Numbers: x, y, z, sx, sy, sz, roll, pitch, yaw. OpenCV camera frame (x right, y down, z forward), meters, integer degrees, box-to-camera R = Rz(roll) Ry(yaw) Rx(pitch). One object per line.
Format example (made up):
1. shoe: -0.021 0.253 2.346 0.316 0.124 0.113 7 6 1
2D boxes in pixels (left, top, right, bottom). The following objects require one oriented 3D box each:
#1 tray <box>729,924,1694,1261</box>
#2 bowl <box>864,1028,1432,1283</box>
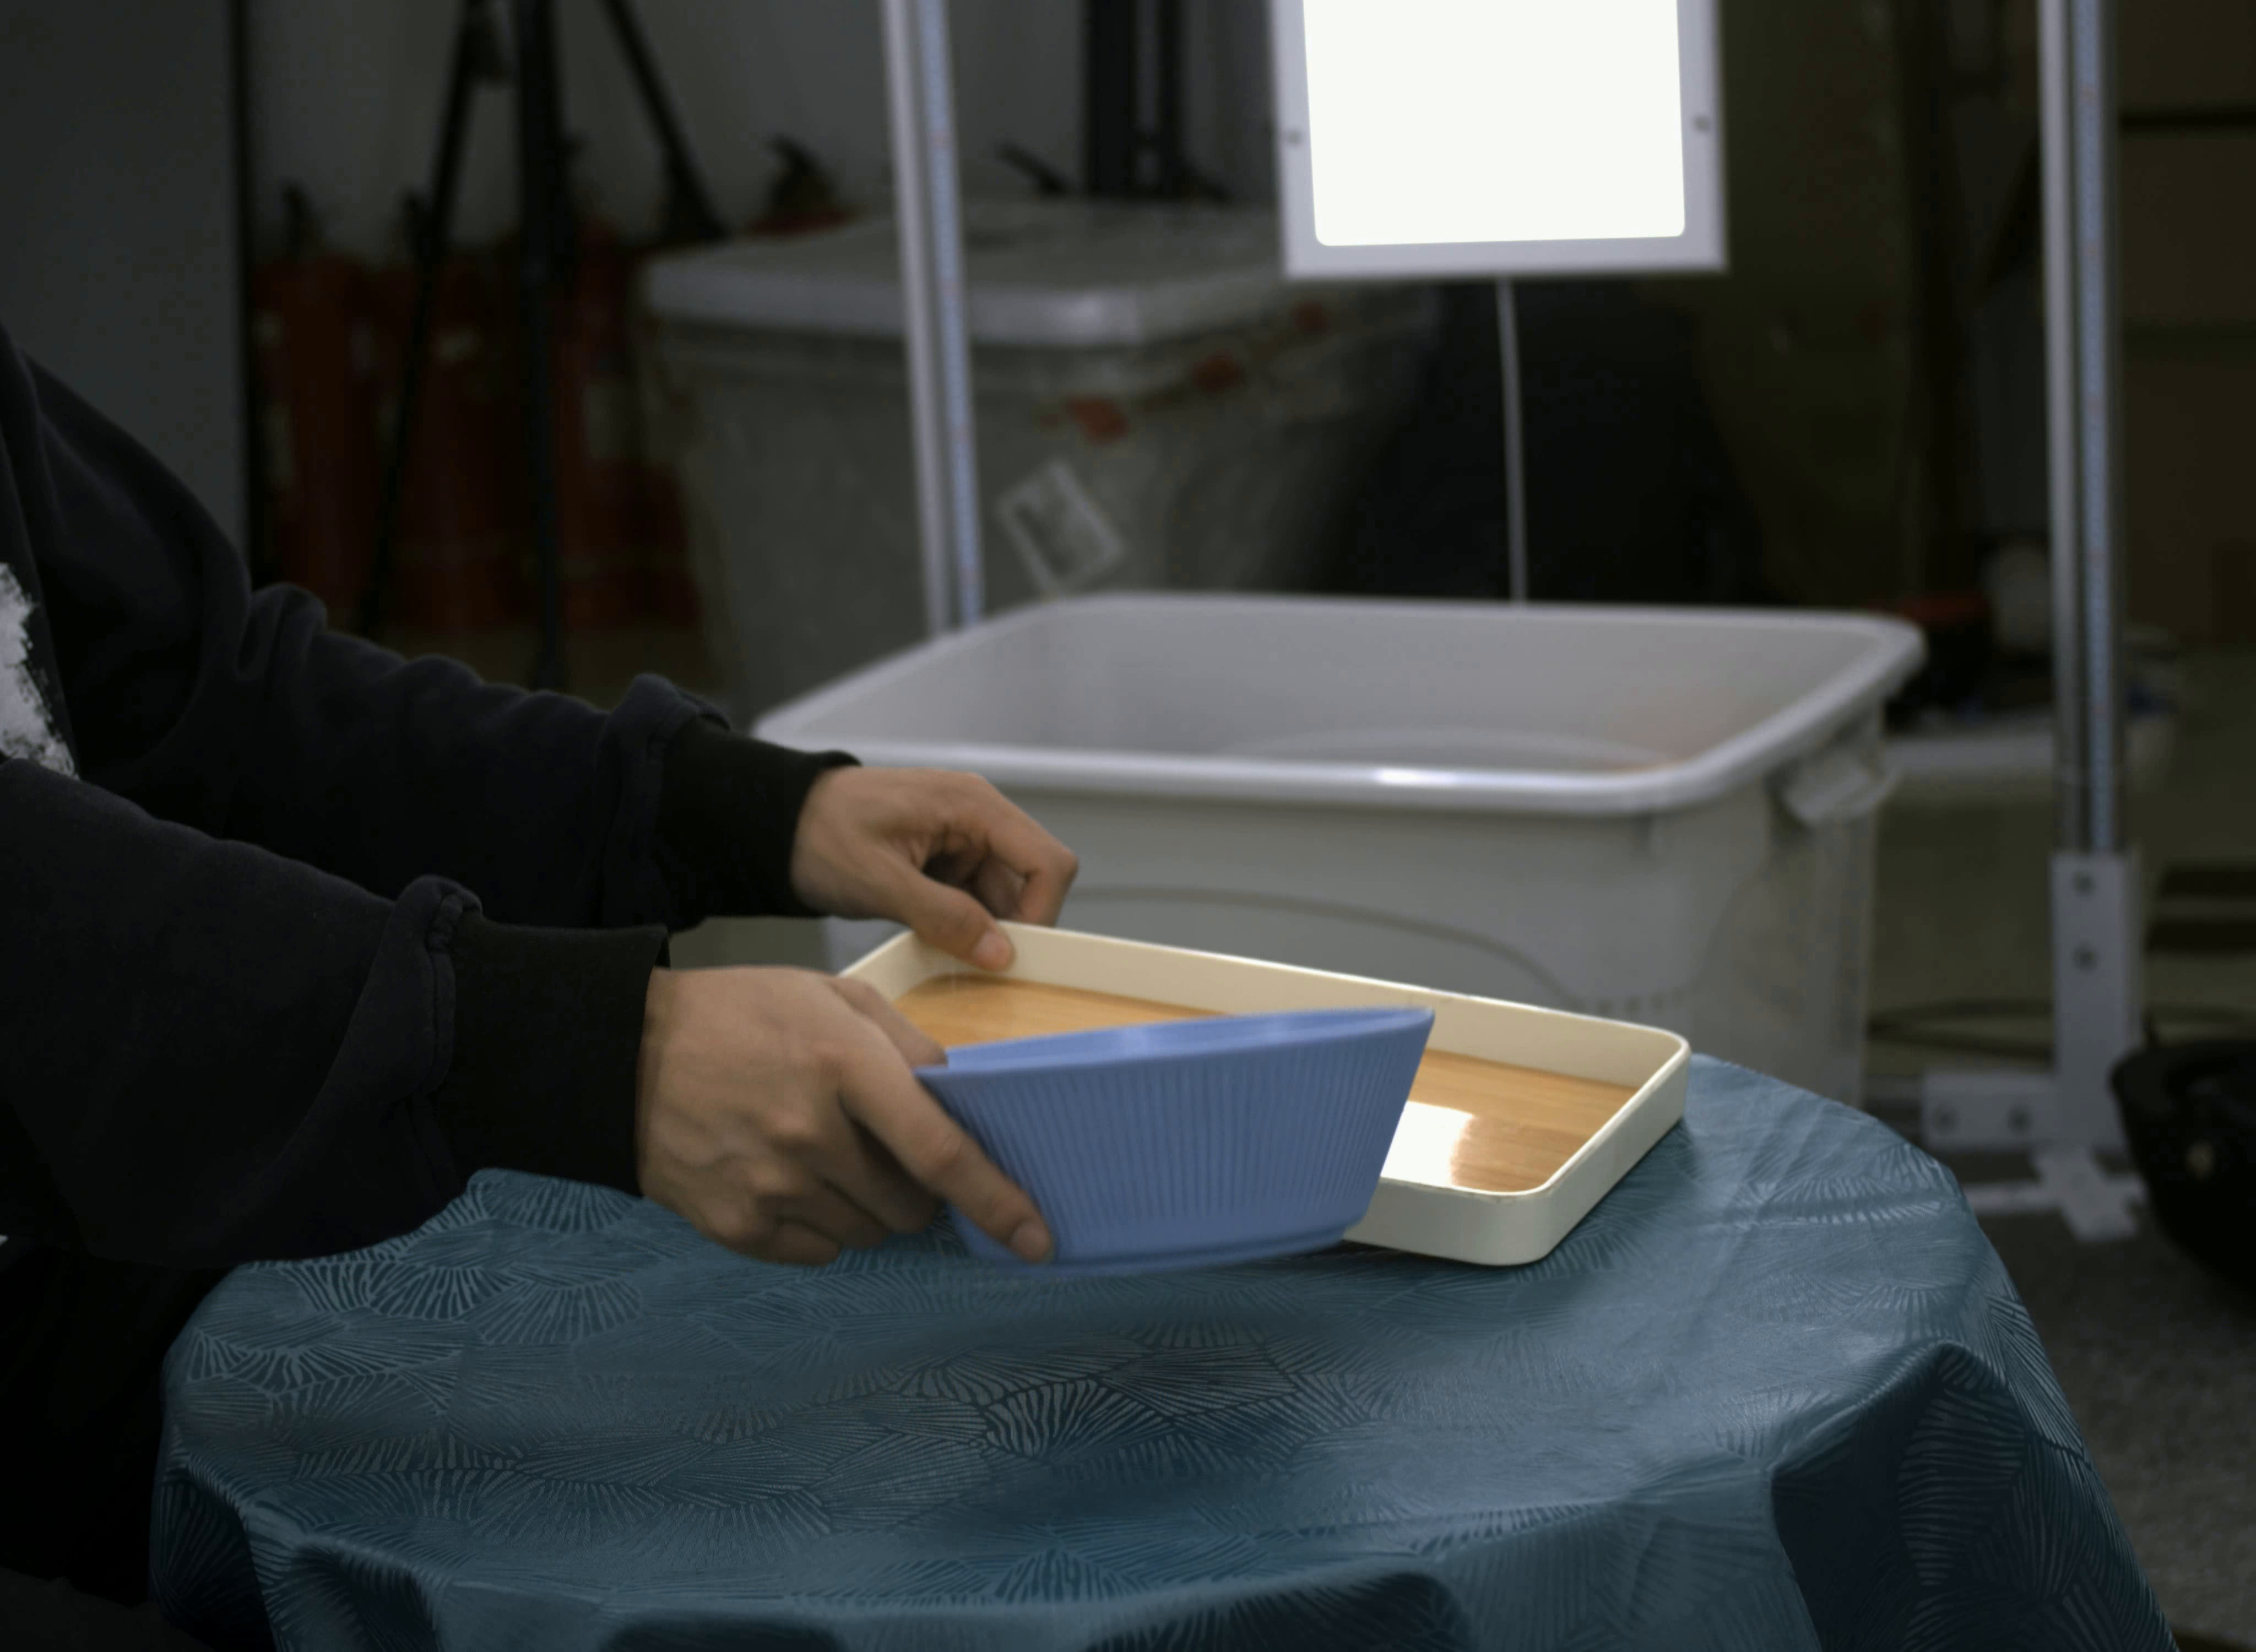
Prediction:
1. tray: 0.030 0.090 1.912 0.304 0.027 0.188 8 17 23
2. bowl: 0.008 0.100 1.687 0.175 0.070 0.176 -4 0 -1
